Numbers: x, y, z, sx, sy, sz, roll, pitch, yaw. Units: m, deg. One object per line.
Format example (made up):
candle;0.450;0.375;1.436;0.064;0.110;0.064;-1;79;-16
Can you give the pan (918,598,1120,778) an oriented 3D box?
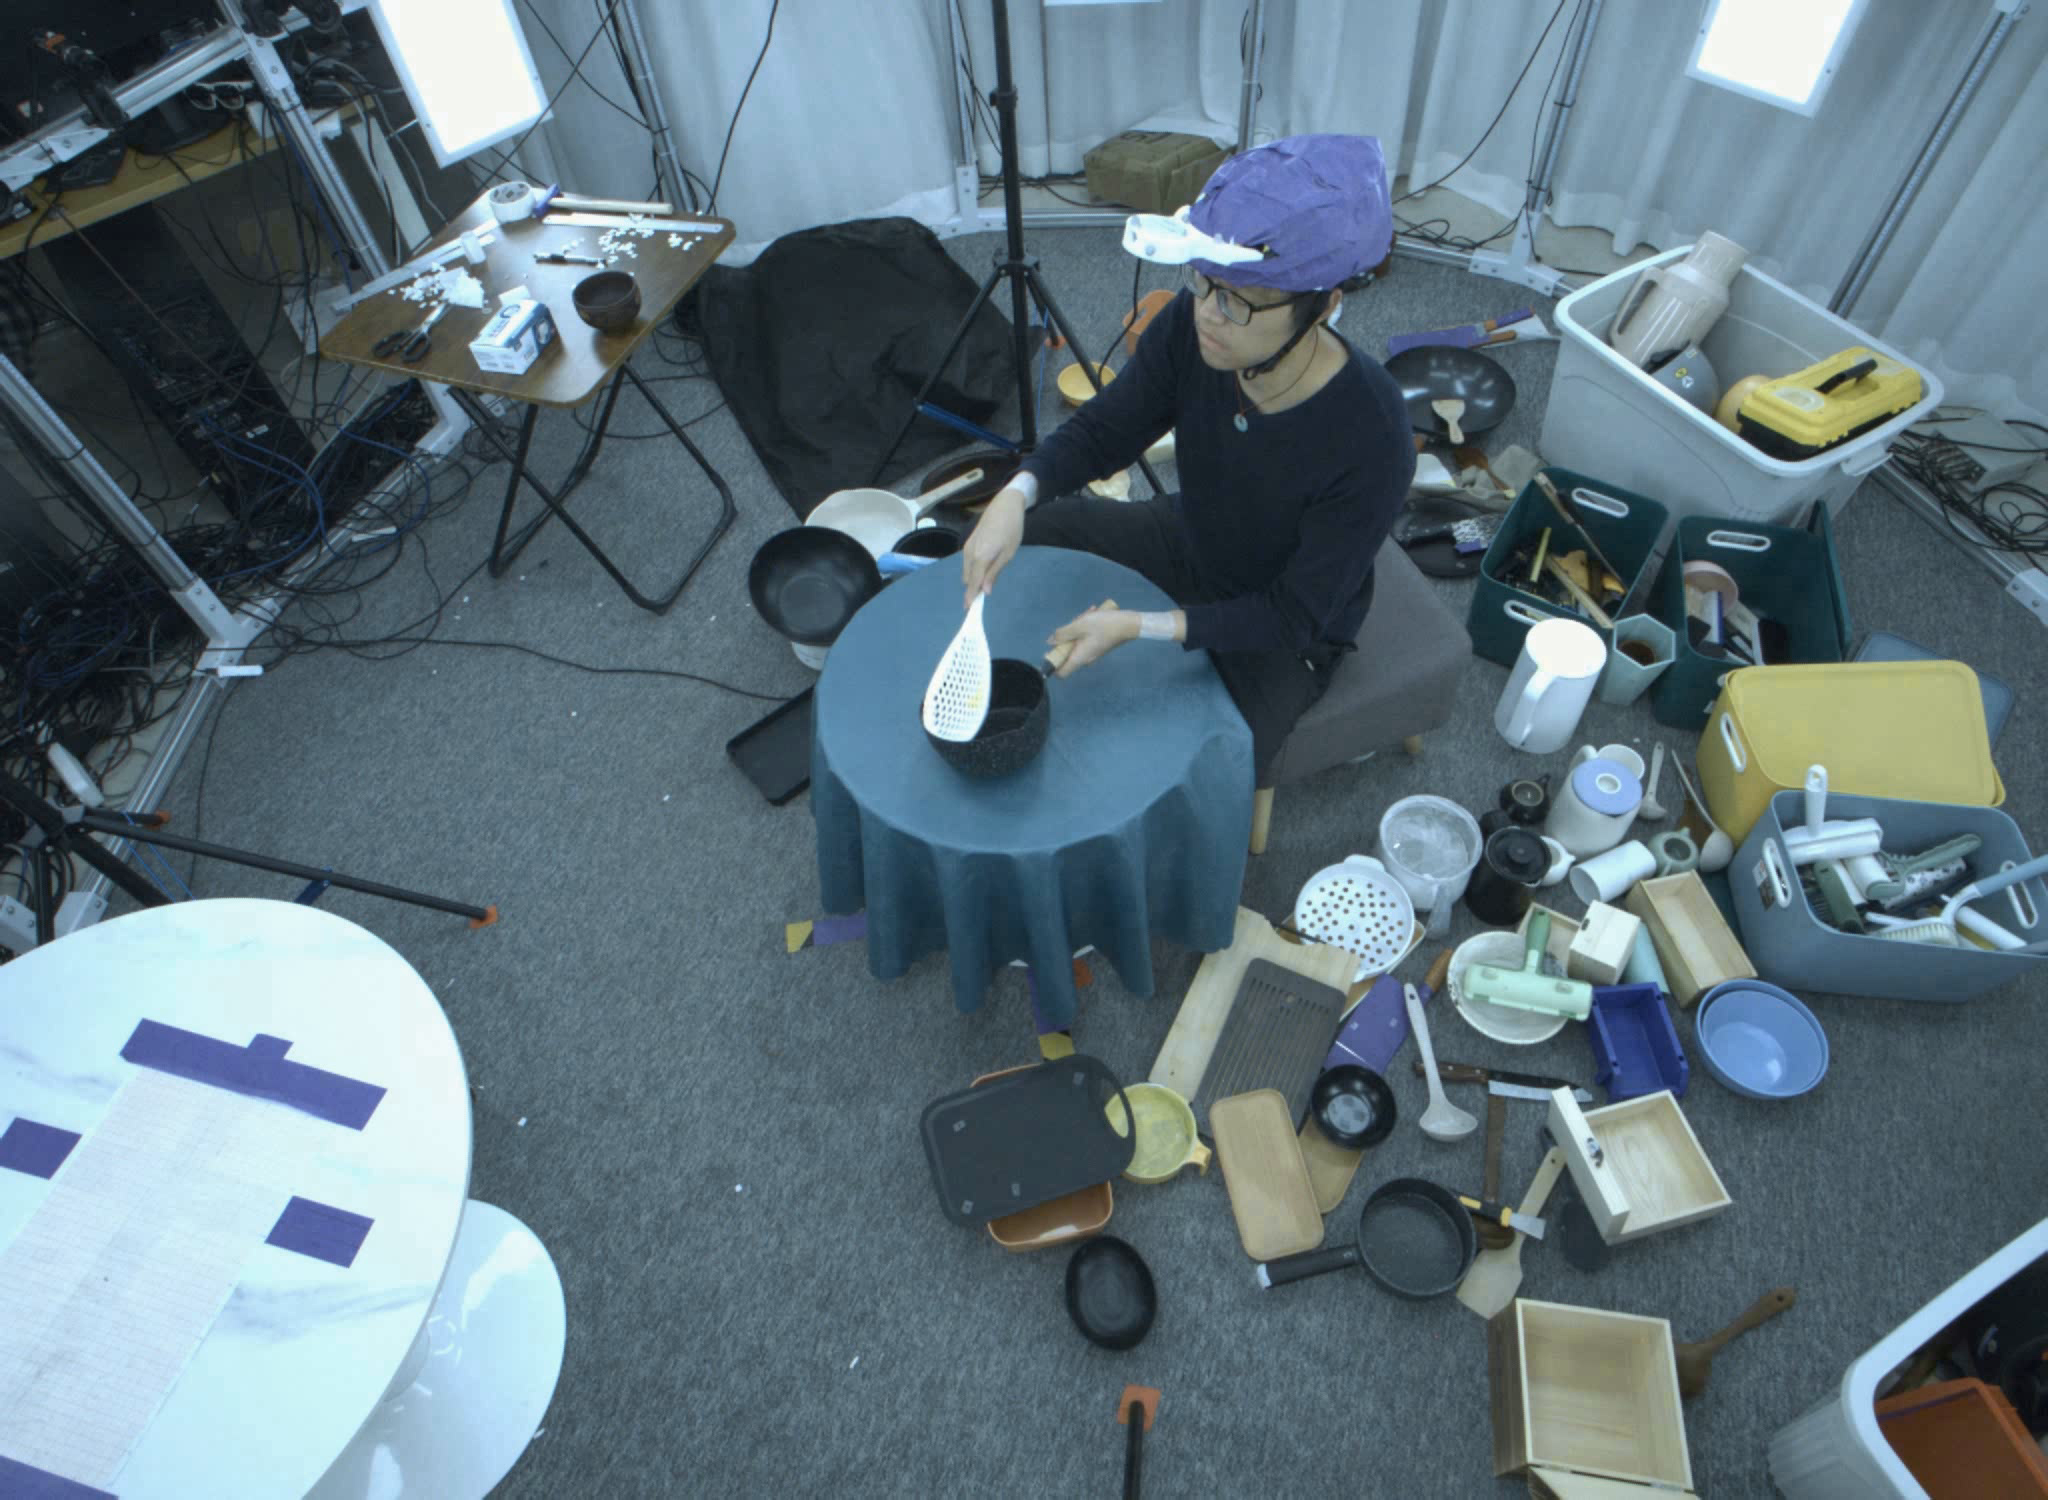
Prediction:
pan;0.009;-0.092;1.764;0.345;0.110;0.202;-35;42;-19

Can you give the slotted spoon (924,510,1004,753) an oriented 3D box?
slotted spoon;-0.066;-0.167;1.701;0.134;0.051;0.348;8;91;48
